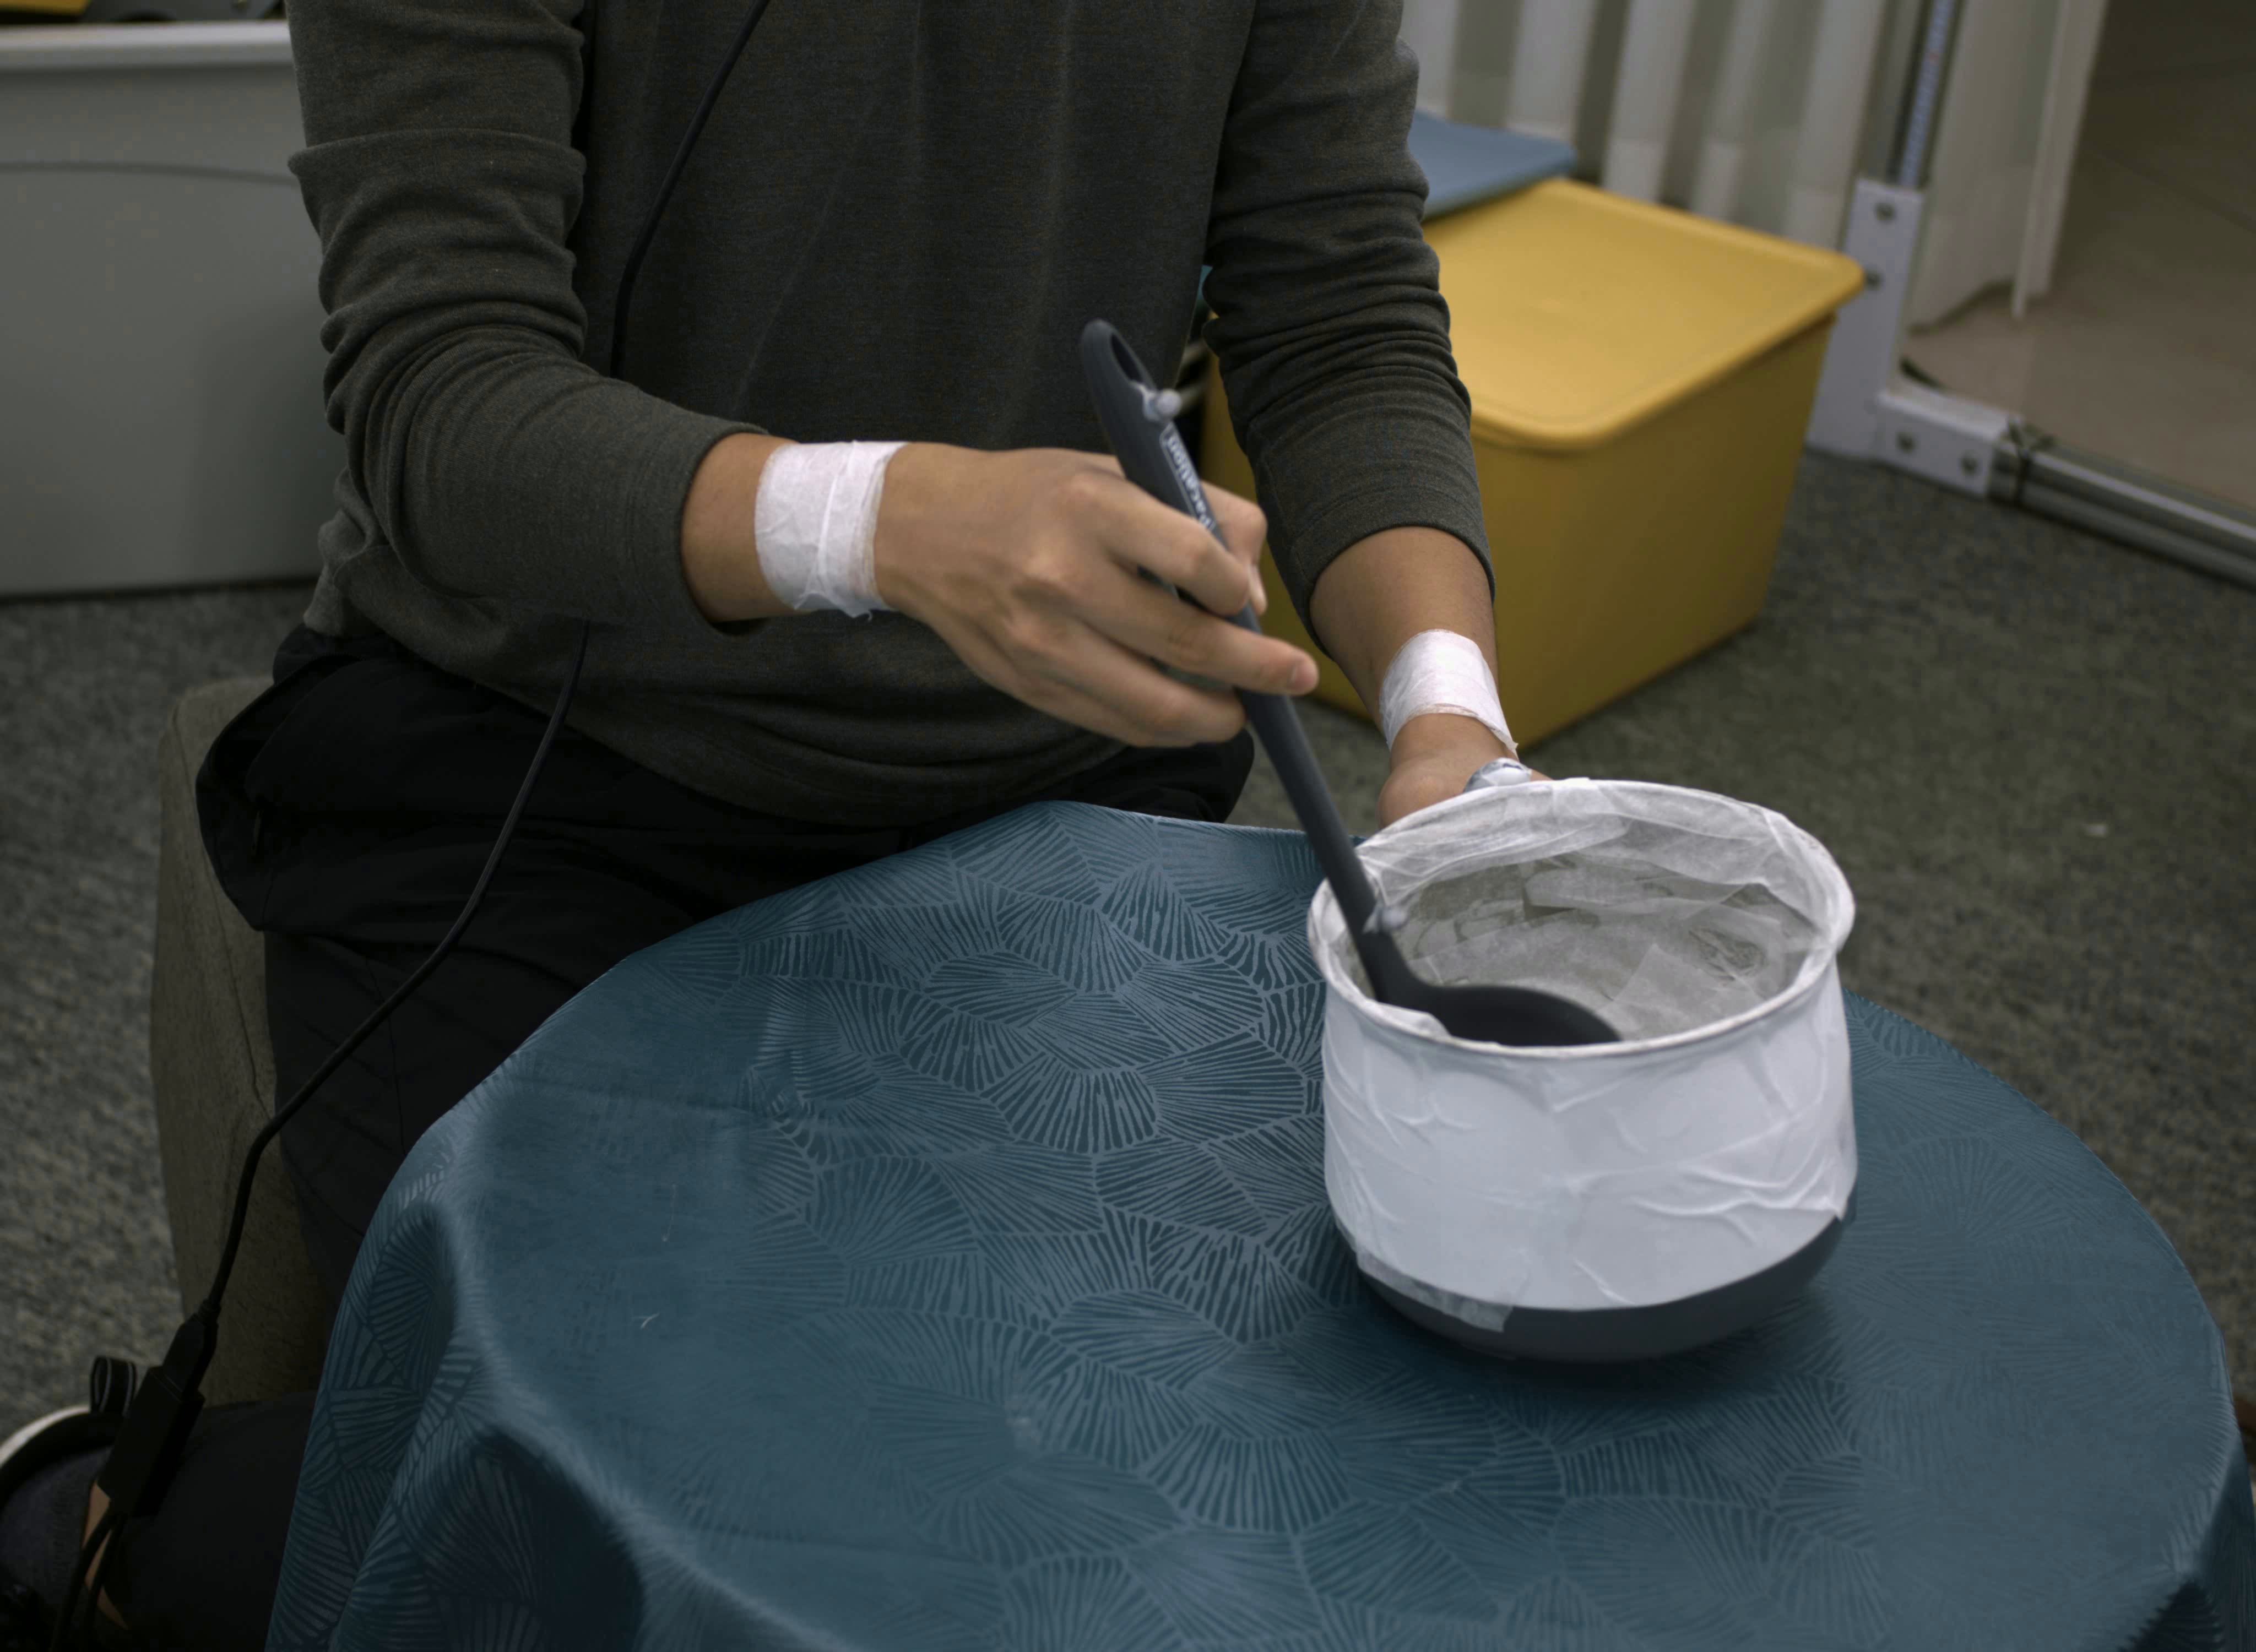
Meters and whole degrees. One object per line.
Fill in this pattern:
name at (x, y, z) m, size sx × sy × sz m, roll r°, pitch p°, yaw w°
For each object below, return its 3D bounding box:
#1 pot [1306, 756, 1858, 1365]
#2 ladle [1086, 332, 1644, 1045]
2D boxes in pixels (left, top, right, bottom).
pot at (0.145, 0.070, 1.774) m, size 0.178 × 0.136 × 0.235 m, roll -10°, pitch 29°, yaw -8°
ladle at (0.077, -0.027, 1.696) m, size 0.064 × 0.312 × 0.086 m, roll -18°, pitch 21°, yaw 25°
